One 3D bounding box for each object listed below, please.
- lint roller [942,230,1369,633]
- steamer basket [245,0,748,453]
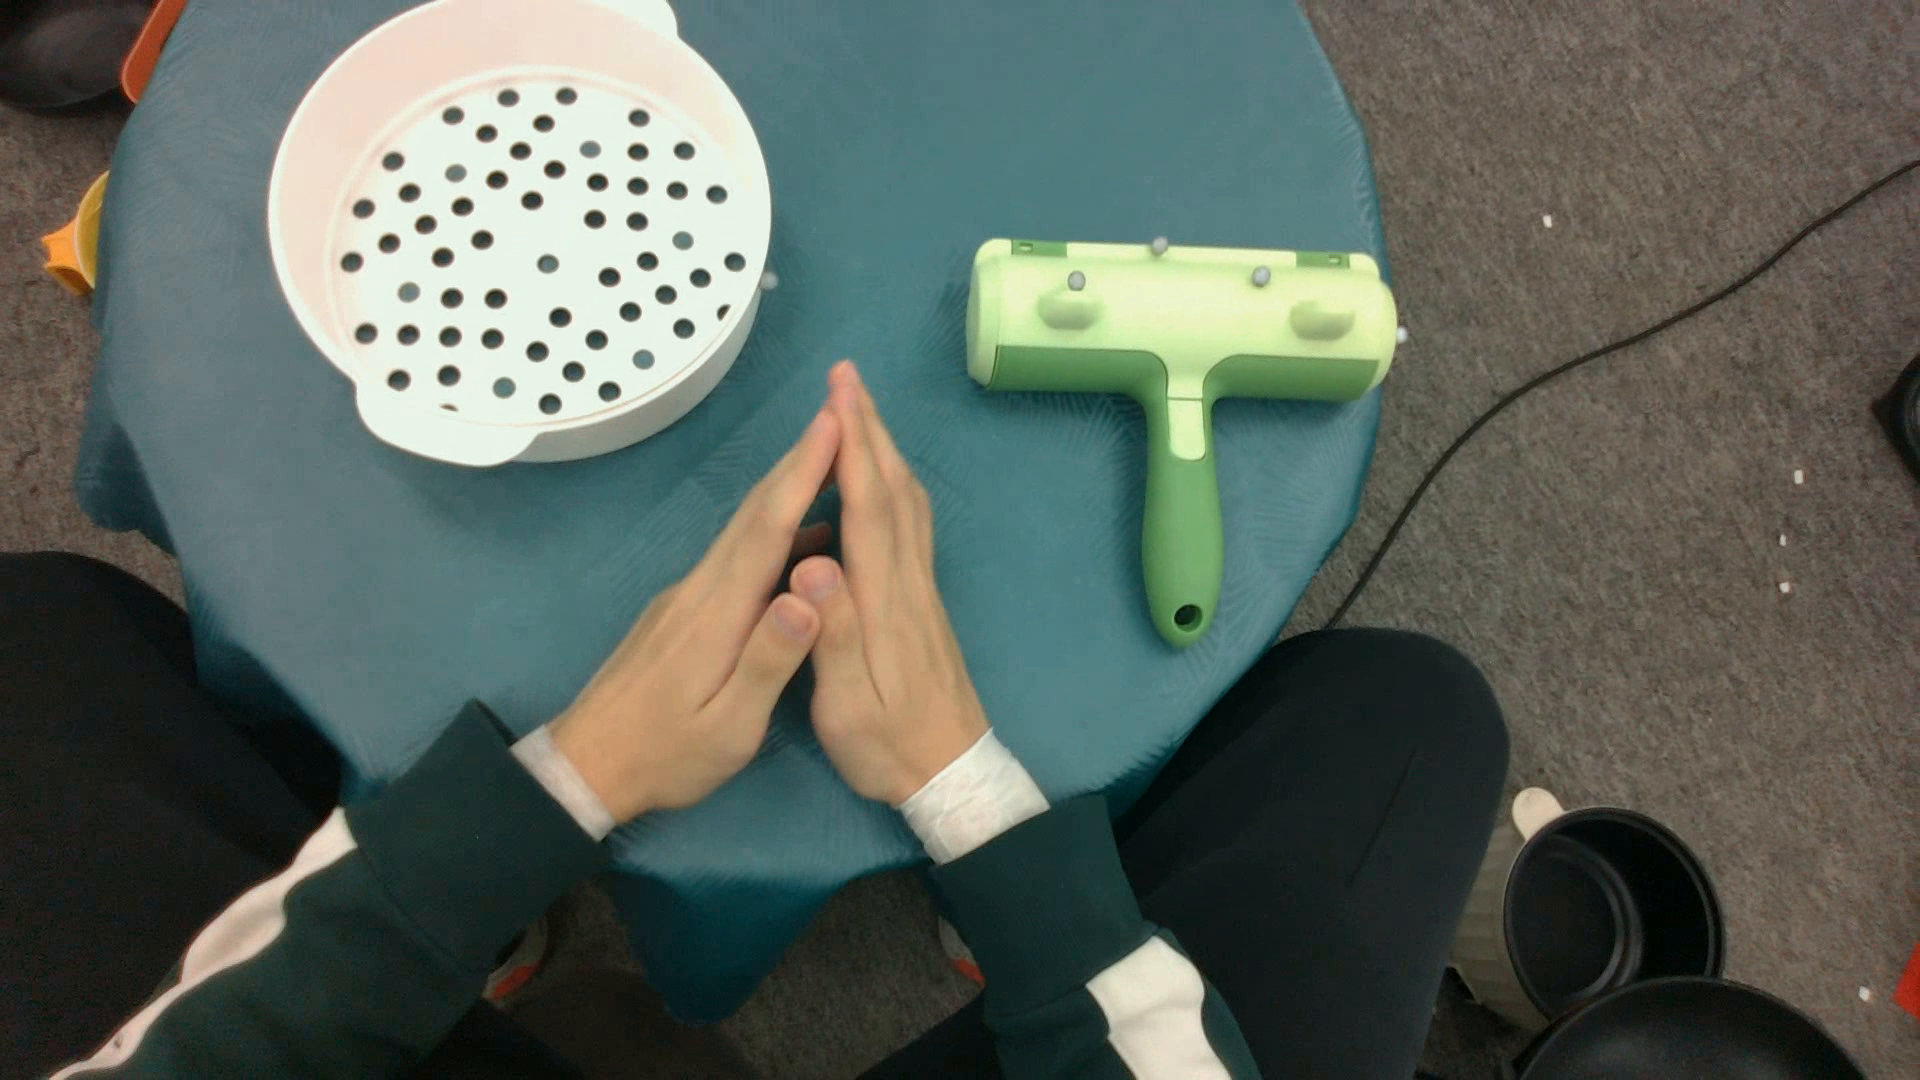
[{"bbox_3d":[0.094,-0.055,0.621,0.199,0.082,0.184,0,72,-9],"label":"lint roller"},{"bbox_3d":[-0.195,-0.138,0.603,0.202,0.069,0.231,13,72,-6],"label":"steamer basket"}]
